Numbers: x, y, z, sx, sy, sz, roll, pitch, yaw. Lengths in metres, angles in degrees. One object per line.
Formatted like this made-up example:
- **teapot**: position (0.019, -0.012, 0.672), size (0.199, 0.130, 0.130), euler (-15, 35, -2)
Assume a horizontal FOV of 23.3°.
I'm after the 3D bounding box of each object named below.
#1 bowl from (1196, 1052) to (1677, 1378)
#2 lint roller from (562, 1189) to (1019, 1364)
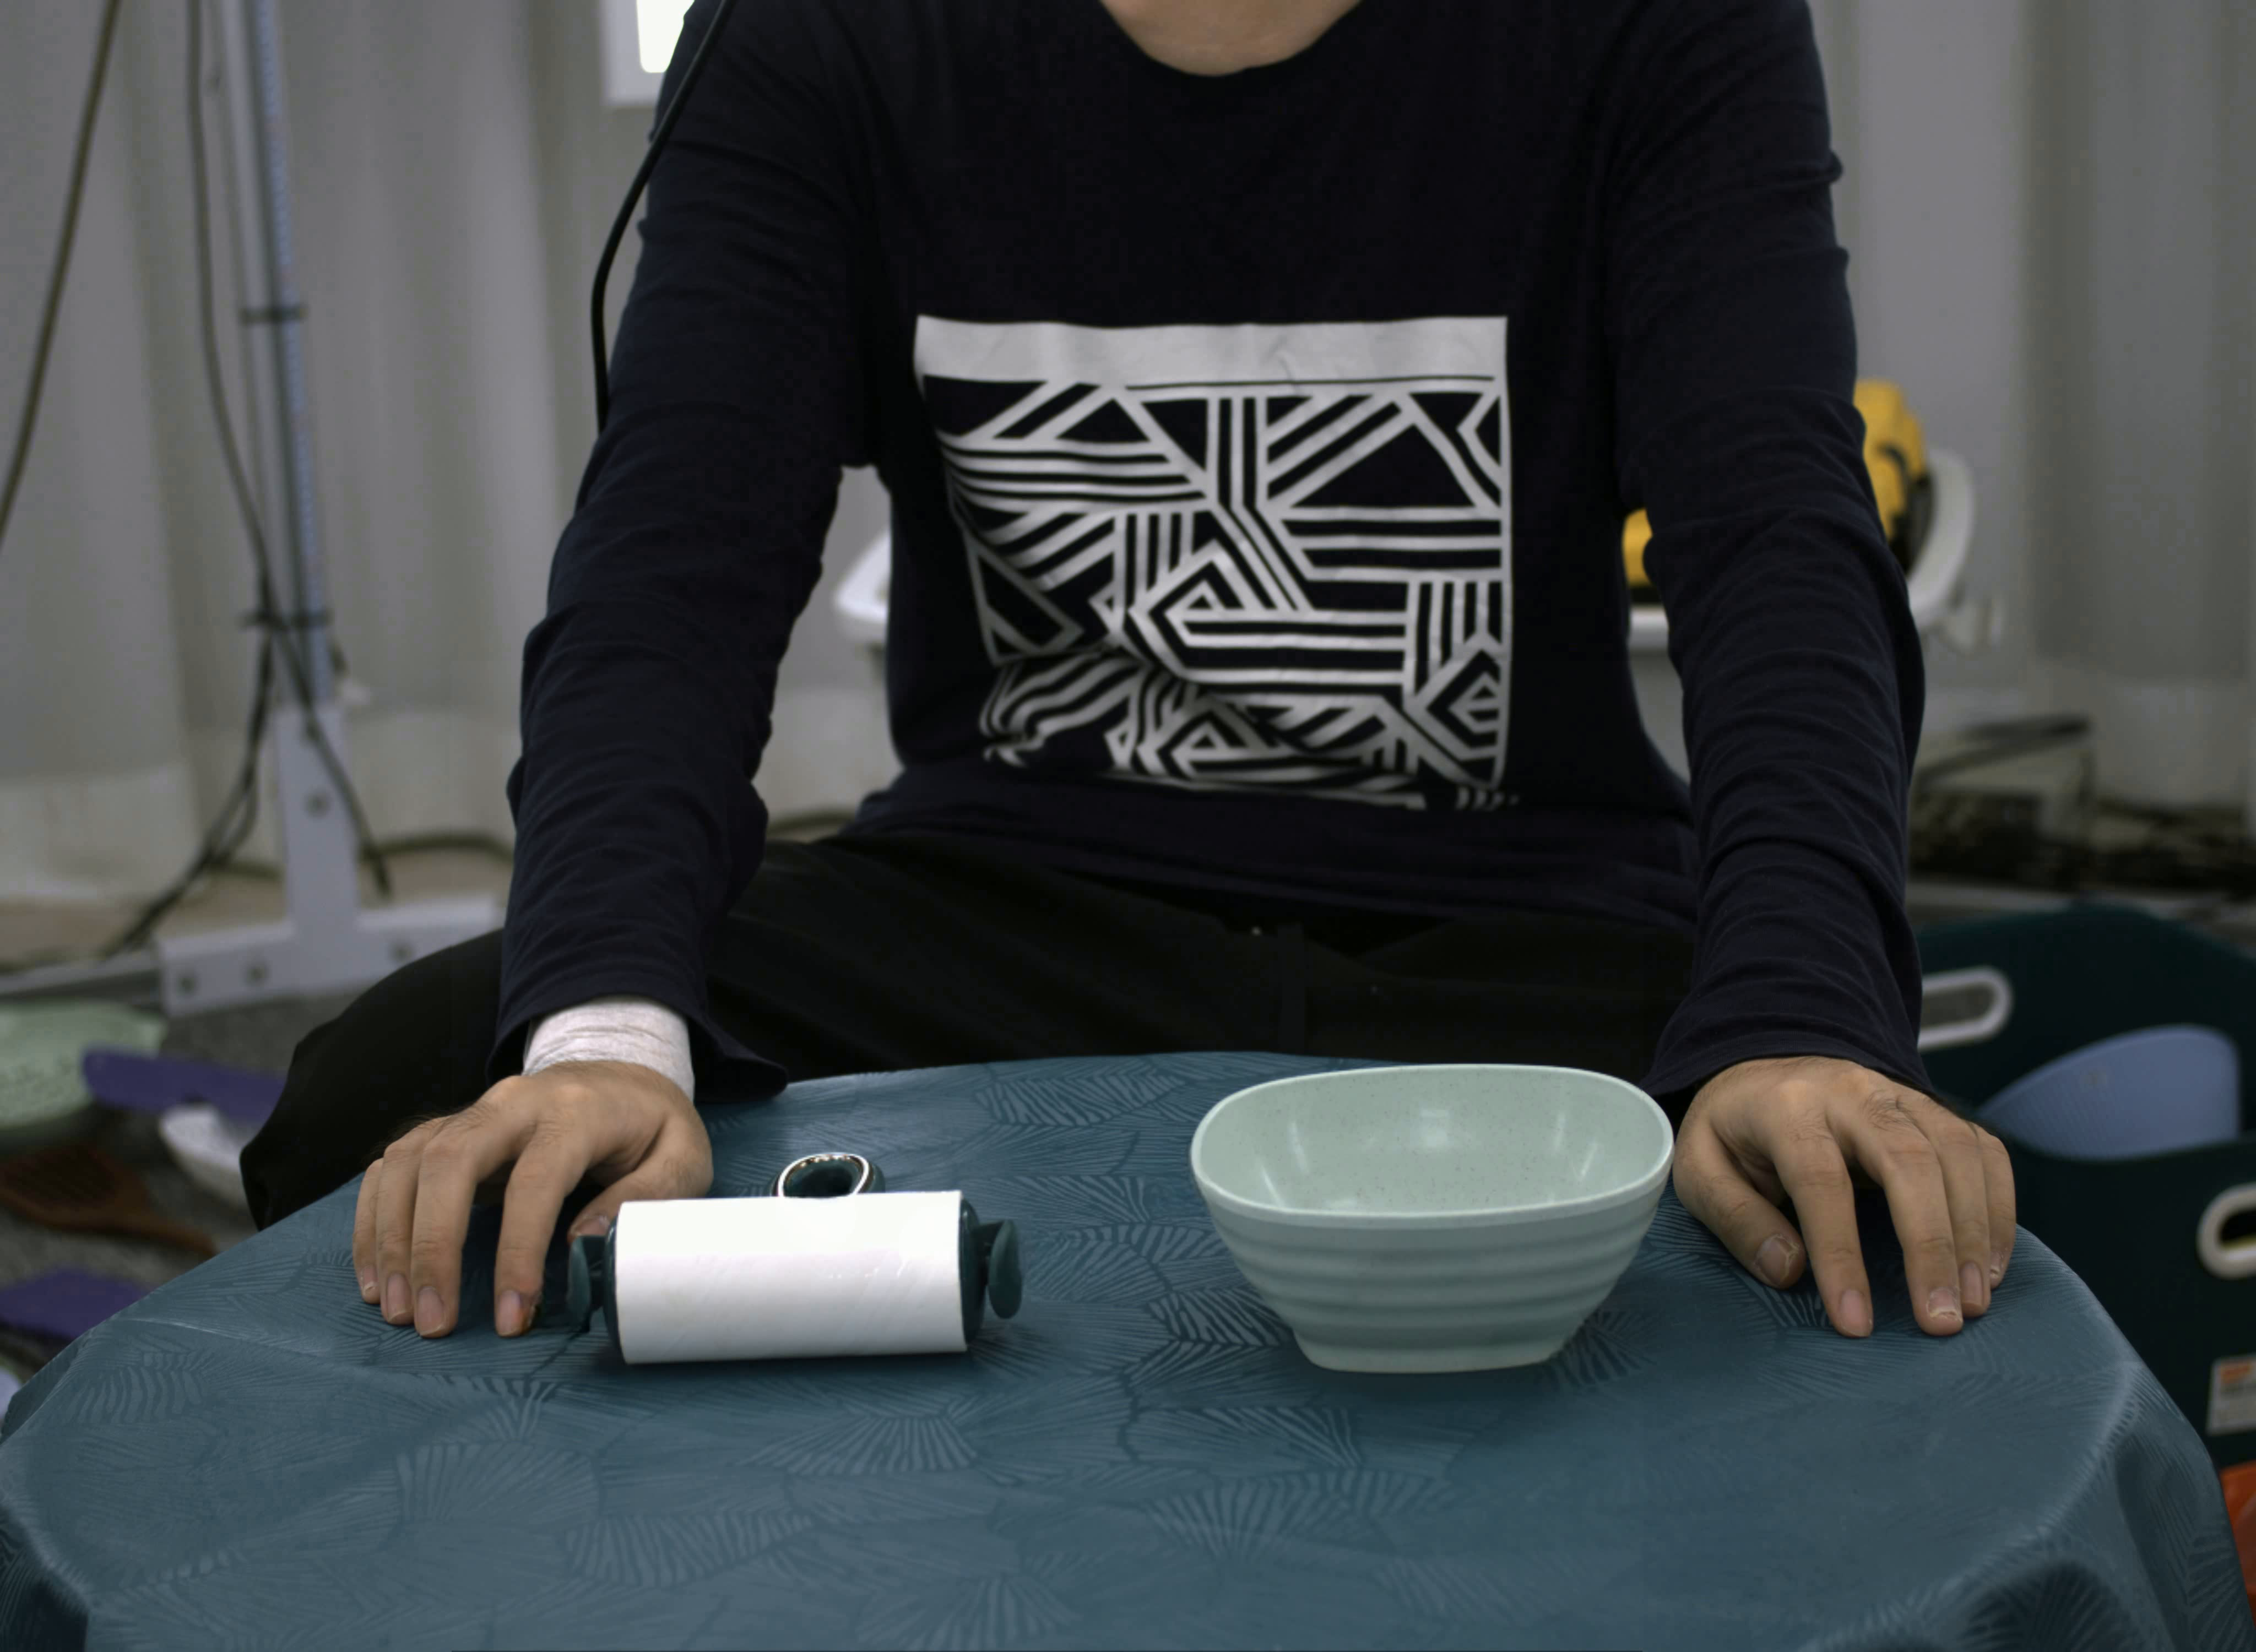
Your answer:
- **bowl**: position (0.090, 0.116, 1.582), size (0.151, 0.058, 0.152), euler (-4, 17, 1)
- **lint roller**: position (-0.097, 0.117, 1.649), size (0.134, 0.048, 0.181), euler (-2, 12, 1)
